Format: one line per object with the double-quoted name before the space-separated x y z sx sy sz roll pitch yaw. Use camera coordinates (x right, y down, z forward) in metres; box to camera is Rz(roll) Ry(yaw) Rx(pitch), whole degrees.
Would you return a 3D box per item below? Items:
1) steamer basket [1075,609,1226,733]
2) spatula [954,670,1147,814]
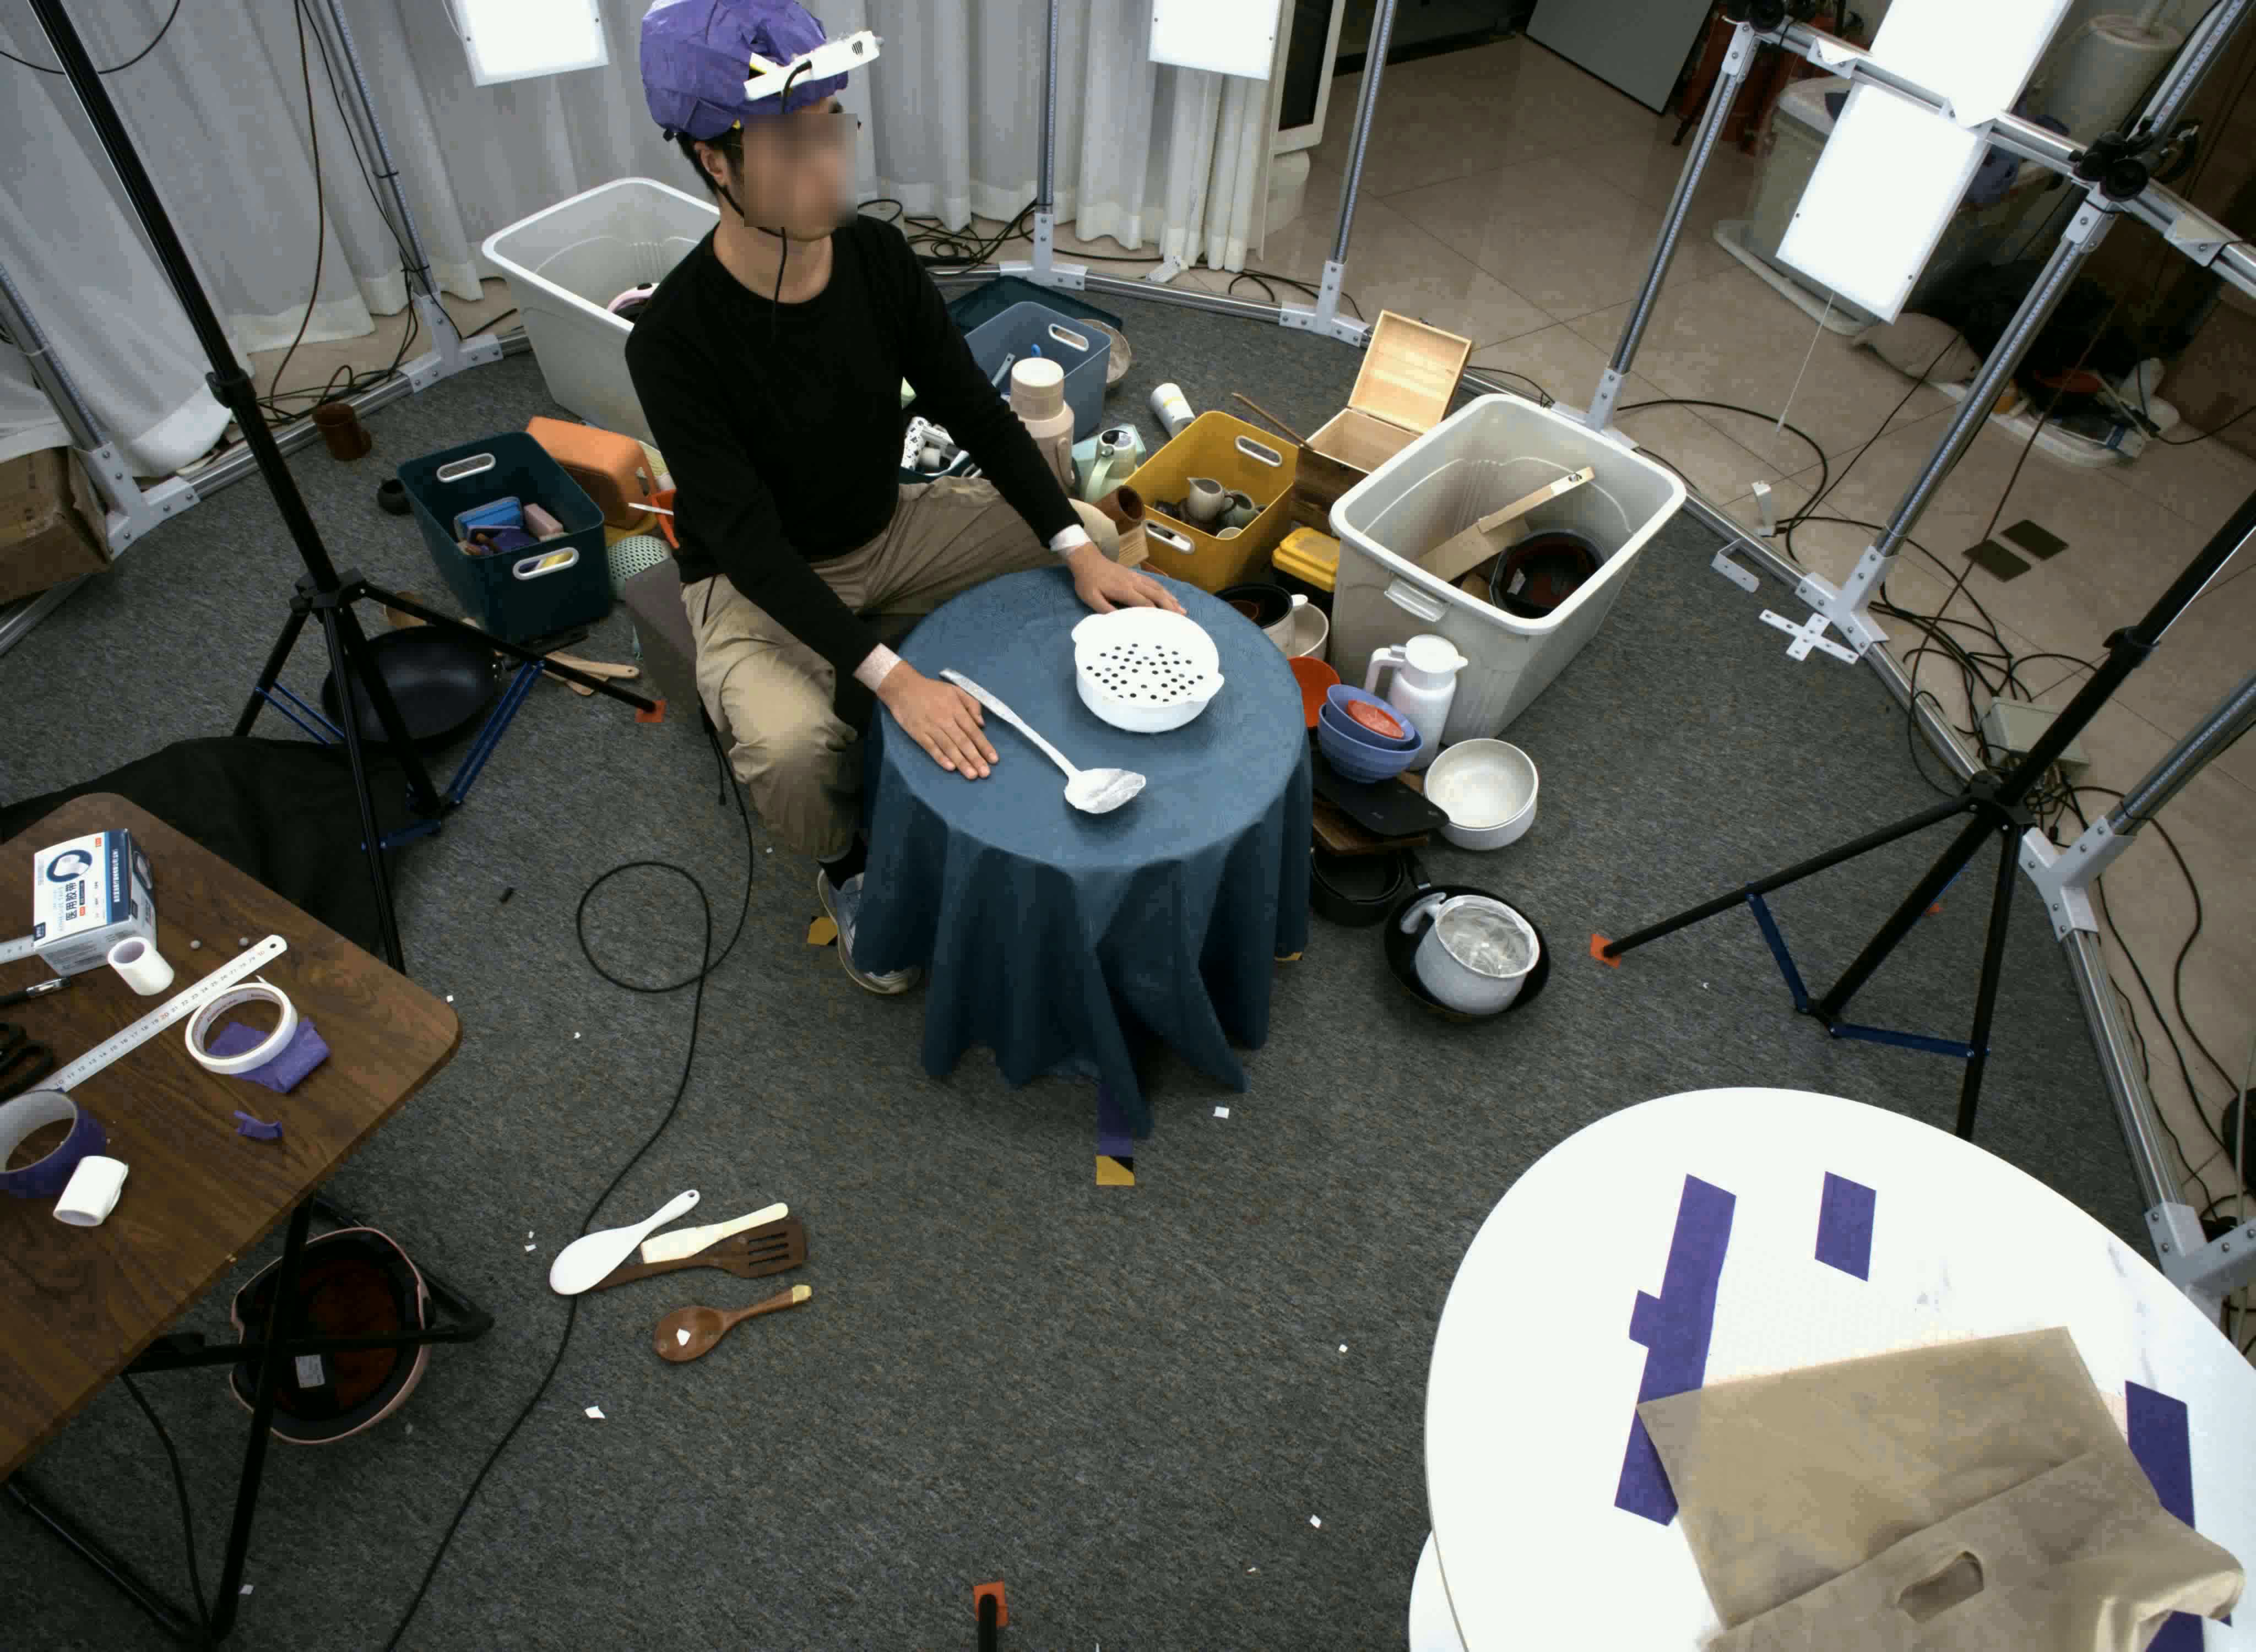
"steamer basket" 0.029 -0.219 1.816 0.233 0.067 0.205 28 52 20
"spatula" -0.126 -0.126 1.747 0.099 0.044 0.370 -35 60 -27
